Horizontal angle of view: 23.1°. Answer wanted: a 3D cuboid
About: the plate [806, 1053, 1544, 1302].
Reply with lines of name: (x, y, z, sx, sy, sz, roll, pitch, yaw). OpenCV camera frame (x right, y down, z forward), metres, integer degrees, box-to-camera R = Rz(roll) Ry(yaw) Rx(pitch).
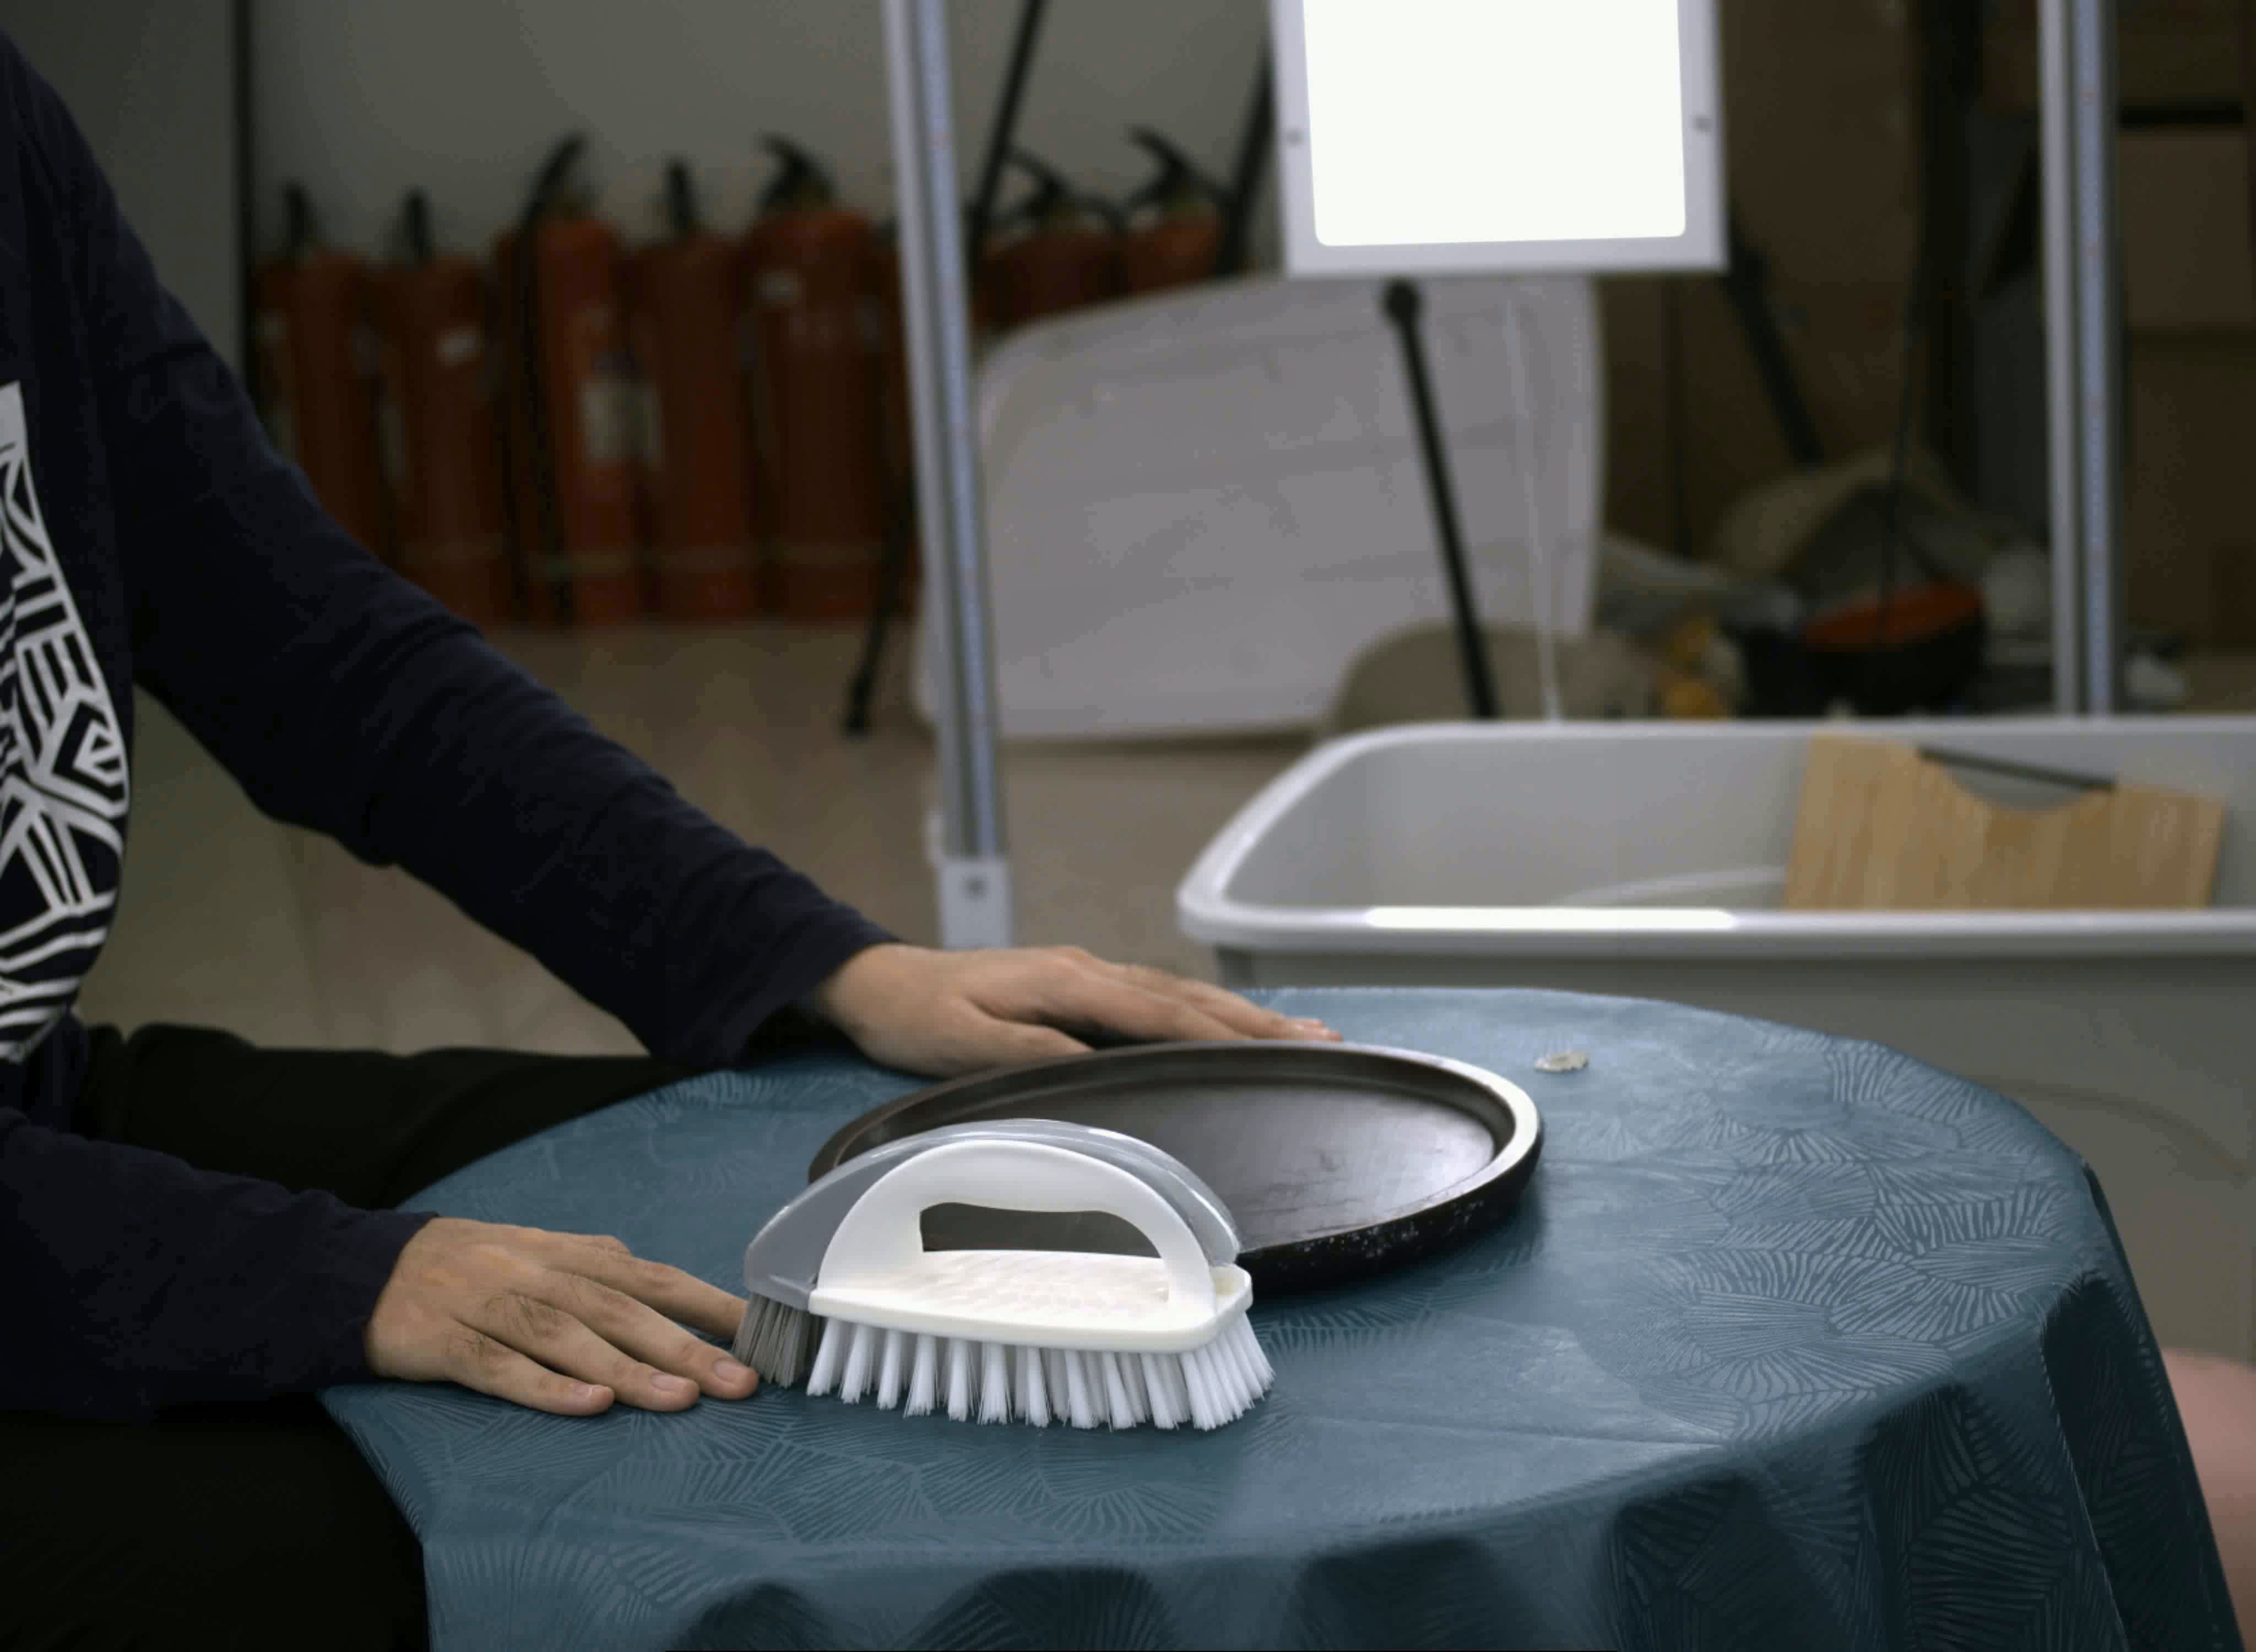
plate: (0.016, 0.118, 1.880, 0.254, 0.029, 0.254, -4, 14, 0)

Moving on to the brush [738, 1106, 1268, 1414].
brush: (-0.046, 0.133, 1.696, 0.178, 0.094, 0.060, -1, 13, 26)
